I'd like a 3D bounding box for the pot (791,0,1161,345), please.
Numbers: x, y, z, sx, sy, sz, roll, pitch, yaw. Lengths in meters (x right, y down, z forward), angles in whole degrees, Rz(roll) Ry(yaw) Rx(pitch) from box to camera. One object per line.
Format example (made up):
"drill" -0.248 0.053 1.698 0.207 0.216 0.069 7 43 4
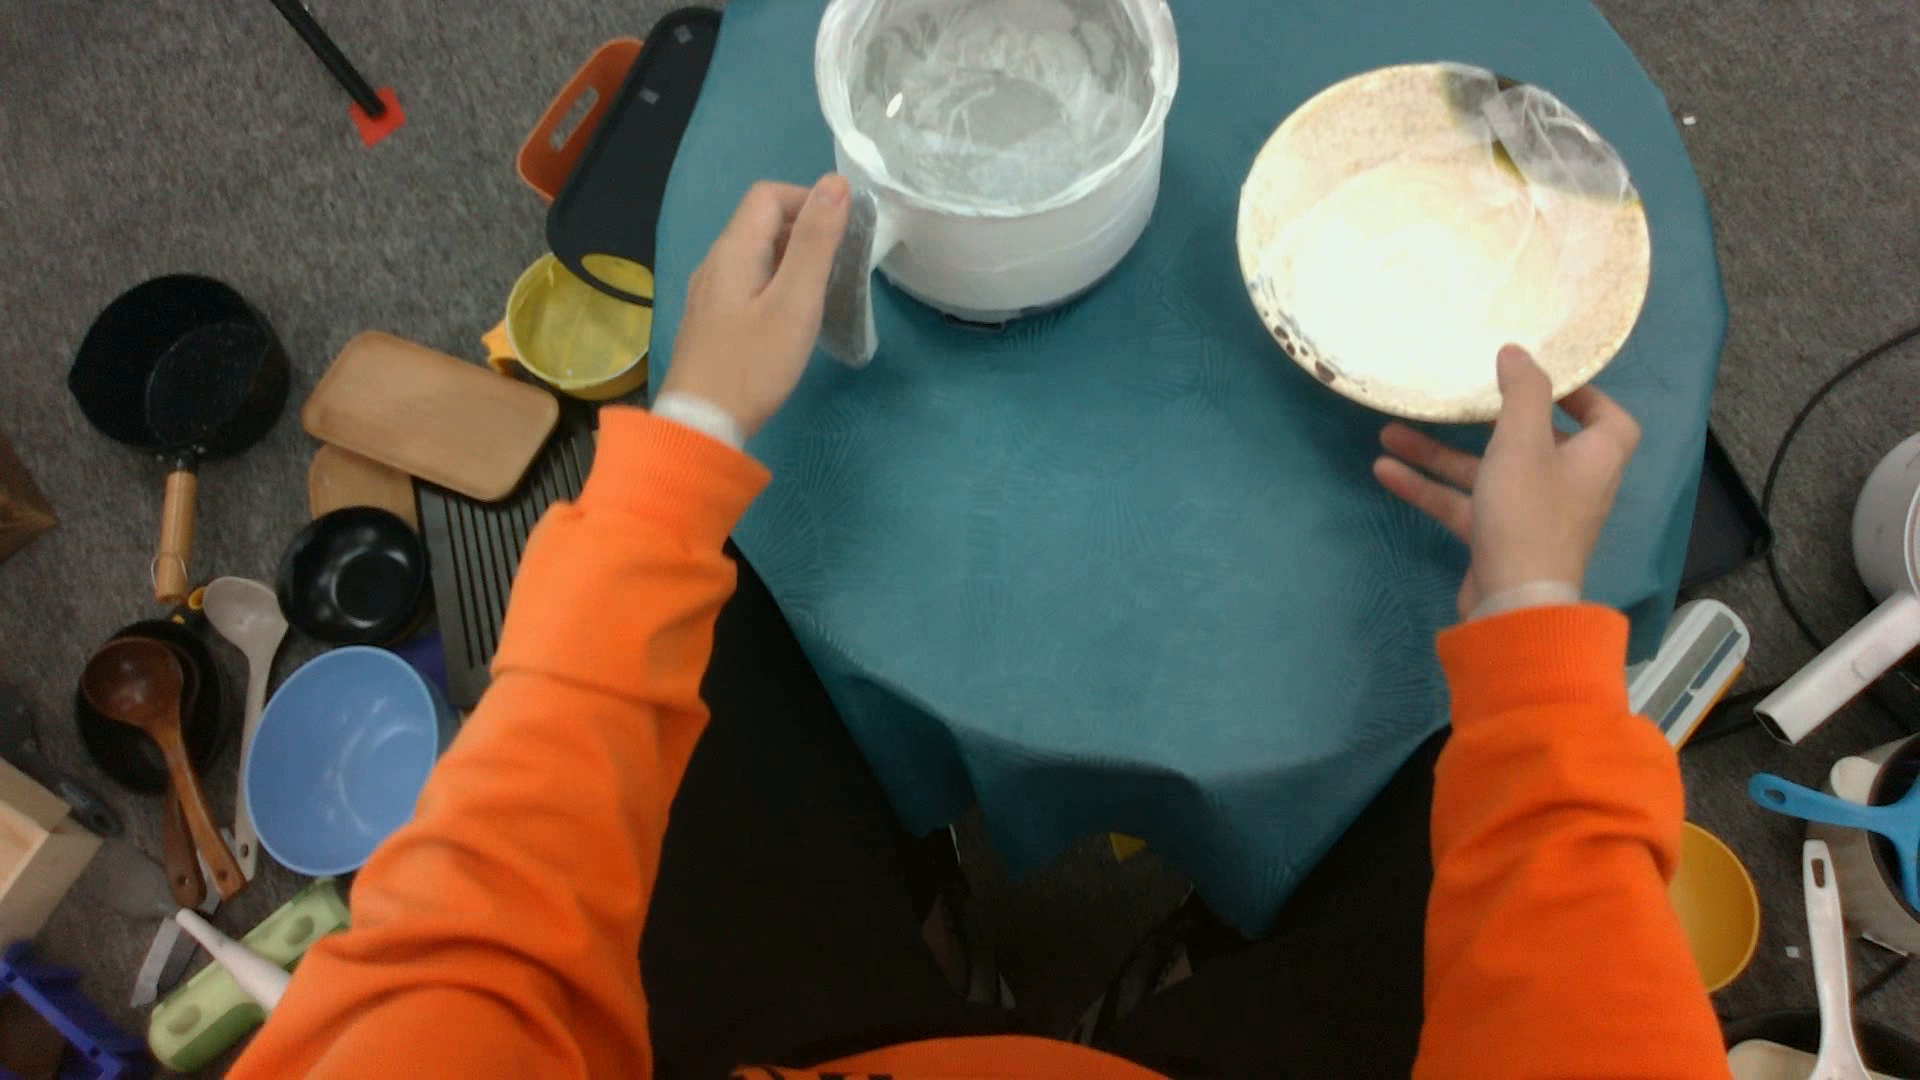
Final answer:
"pot" -0.005 -0.209 0.724 0.179 0.136 0.234 36 78 12

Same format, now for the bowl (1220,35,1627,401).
"bowl" 0.236 -0.159 0.733 0.204 0.078 0.204 0 76 2
